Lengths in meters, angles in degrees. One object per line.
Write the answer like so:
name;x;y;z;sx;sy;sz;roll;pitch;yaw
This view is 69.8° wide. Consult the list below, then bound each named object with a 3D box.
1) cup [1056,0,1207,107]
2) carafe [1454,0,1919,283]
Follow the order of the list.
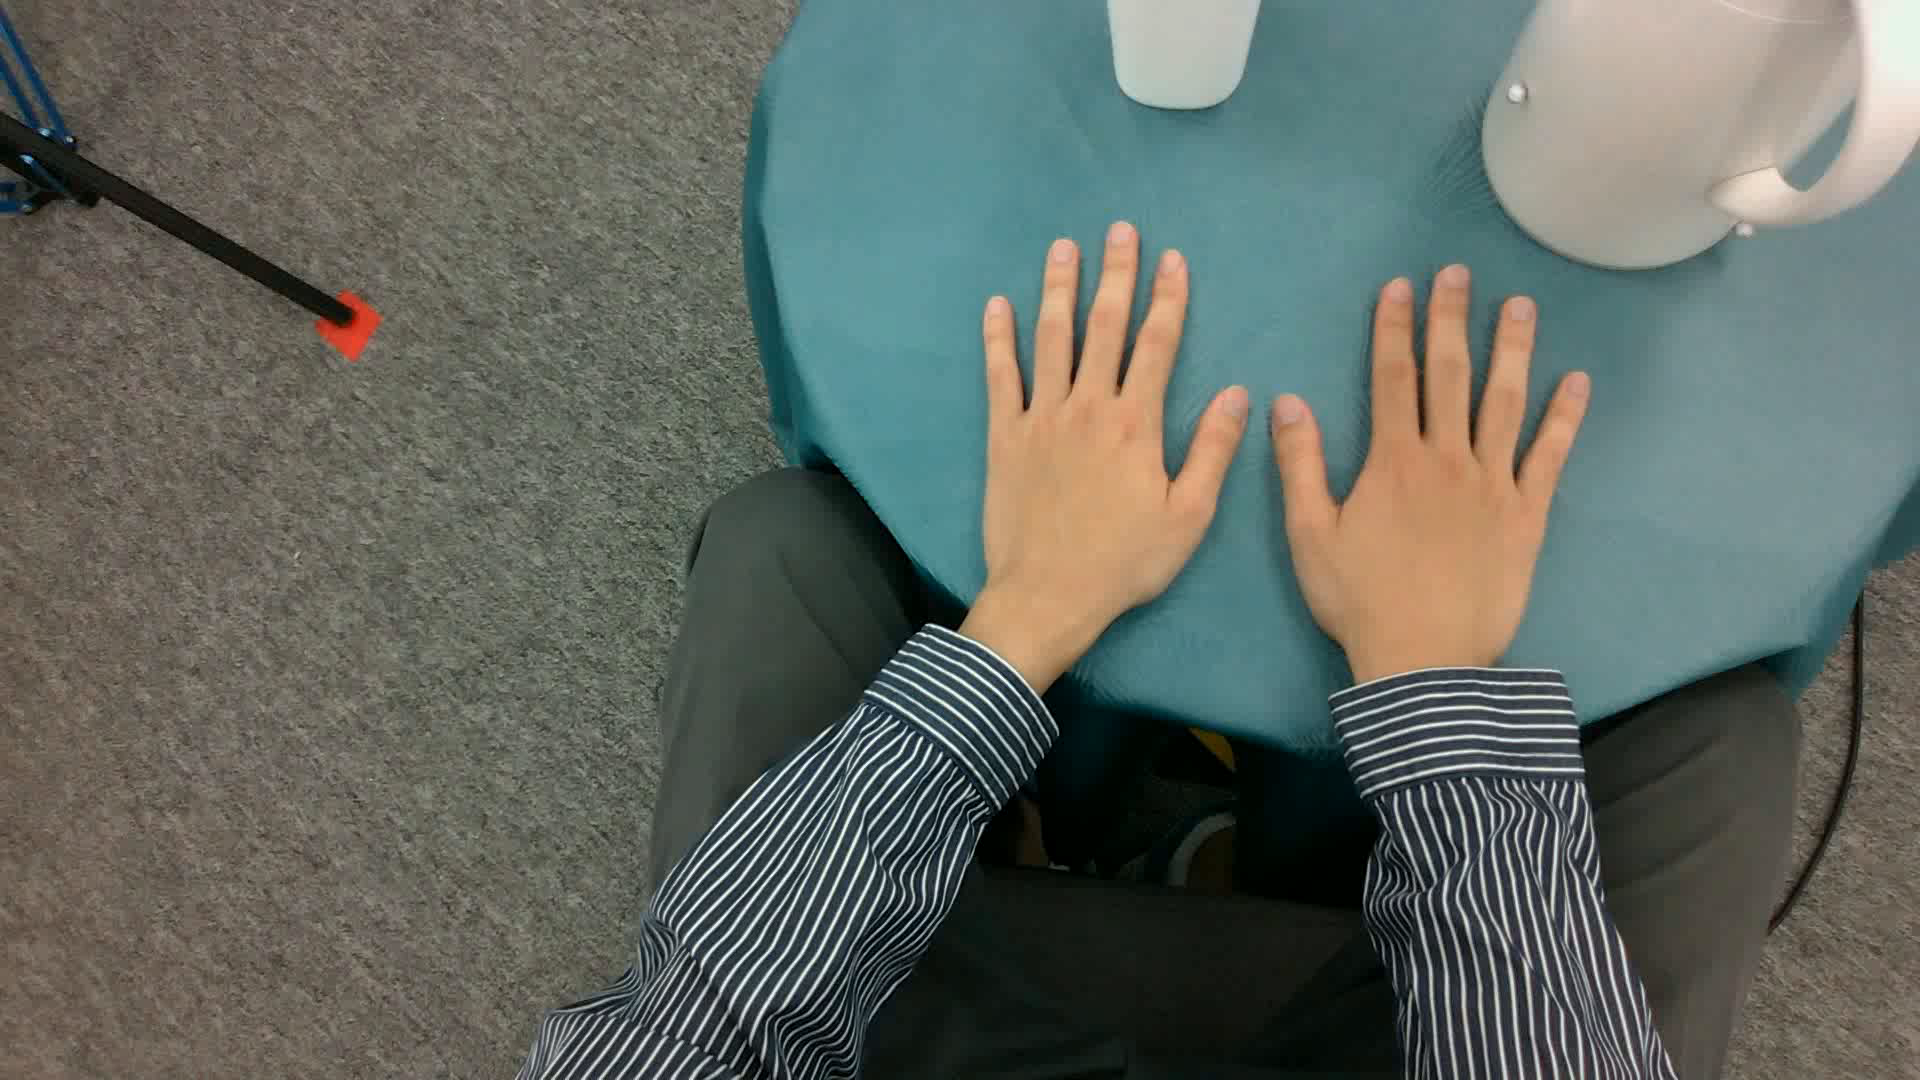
cup;0.082;-0.268;0.656;0.081;0.125;0.082;-1;78;6
carafe;0.302;-0.200;0.550;0.132;0.248;0.168;-20;74;1
